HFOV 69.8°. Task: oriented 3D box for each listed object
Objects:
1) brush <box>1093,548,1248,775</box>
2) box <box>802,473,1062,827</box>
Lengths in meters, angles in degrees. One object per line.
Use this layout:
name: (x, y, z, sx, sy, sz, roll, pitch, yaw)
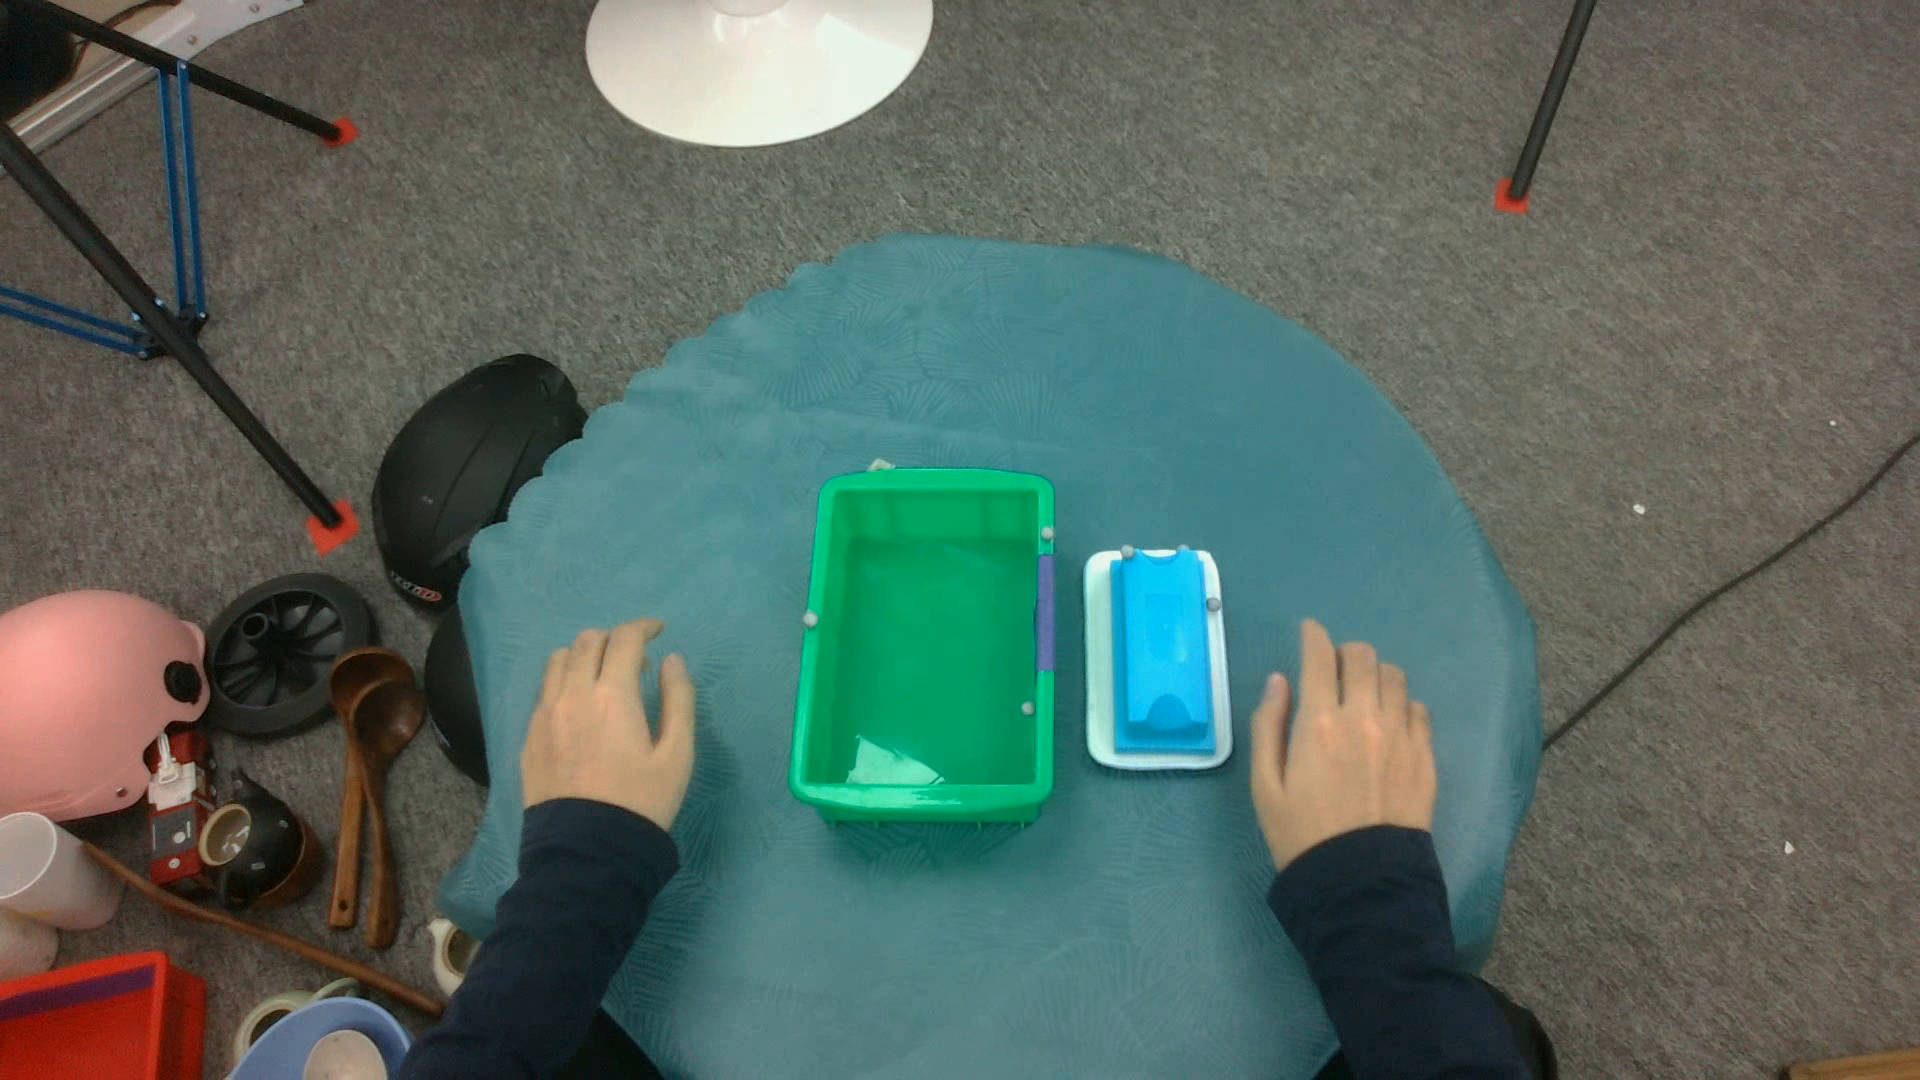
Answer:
brush: (0.118, 0.061, 0.775, 0.084, 0.055, 0.144, 2, 50, 3)
box: (-0.013, 0.066, 0.789, 0.138, 0.065, 0.211, -1, 58, 1)
